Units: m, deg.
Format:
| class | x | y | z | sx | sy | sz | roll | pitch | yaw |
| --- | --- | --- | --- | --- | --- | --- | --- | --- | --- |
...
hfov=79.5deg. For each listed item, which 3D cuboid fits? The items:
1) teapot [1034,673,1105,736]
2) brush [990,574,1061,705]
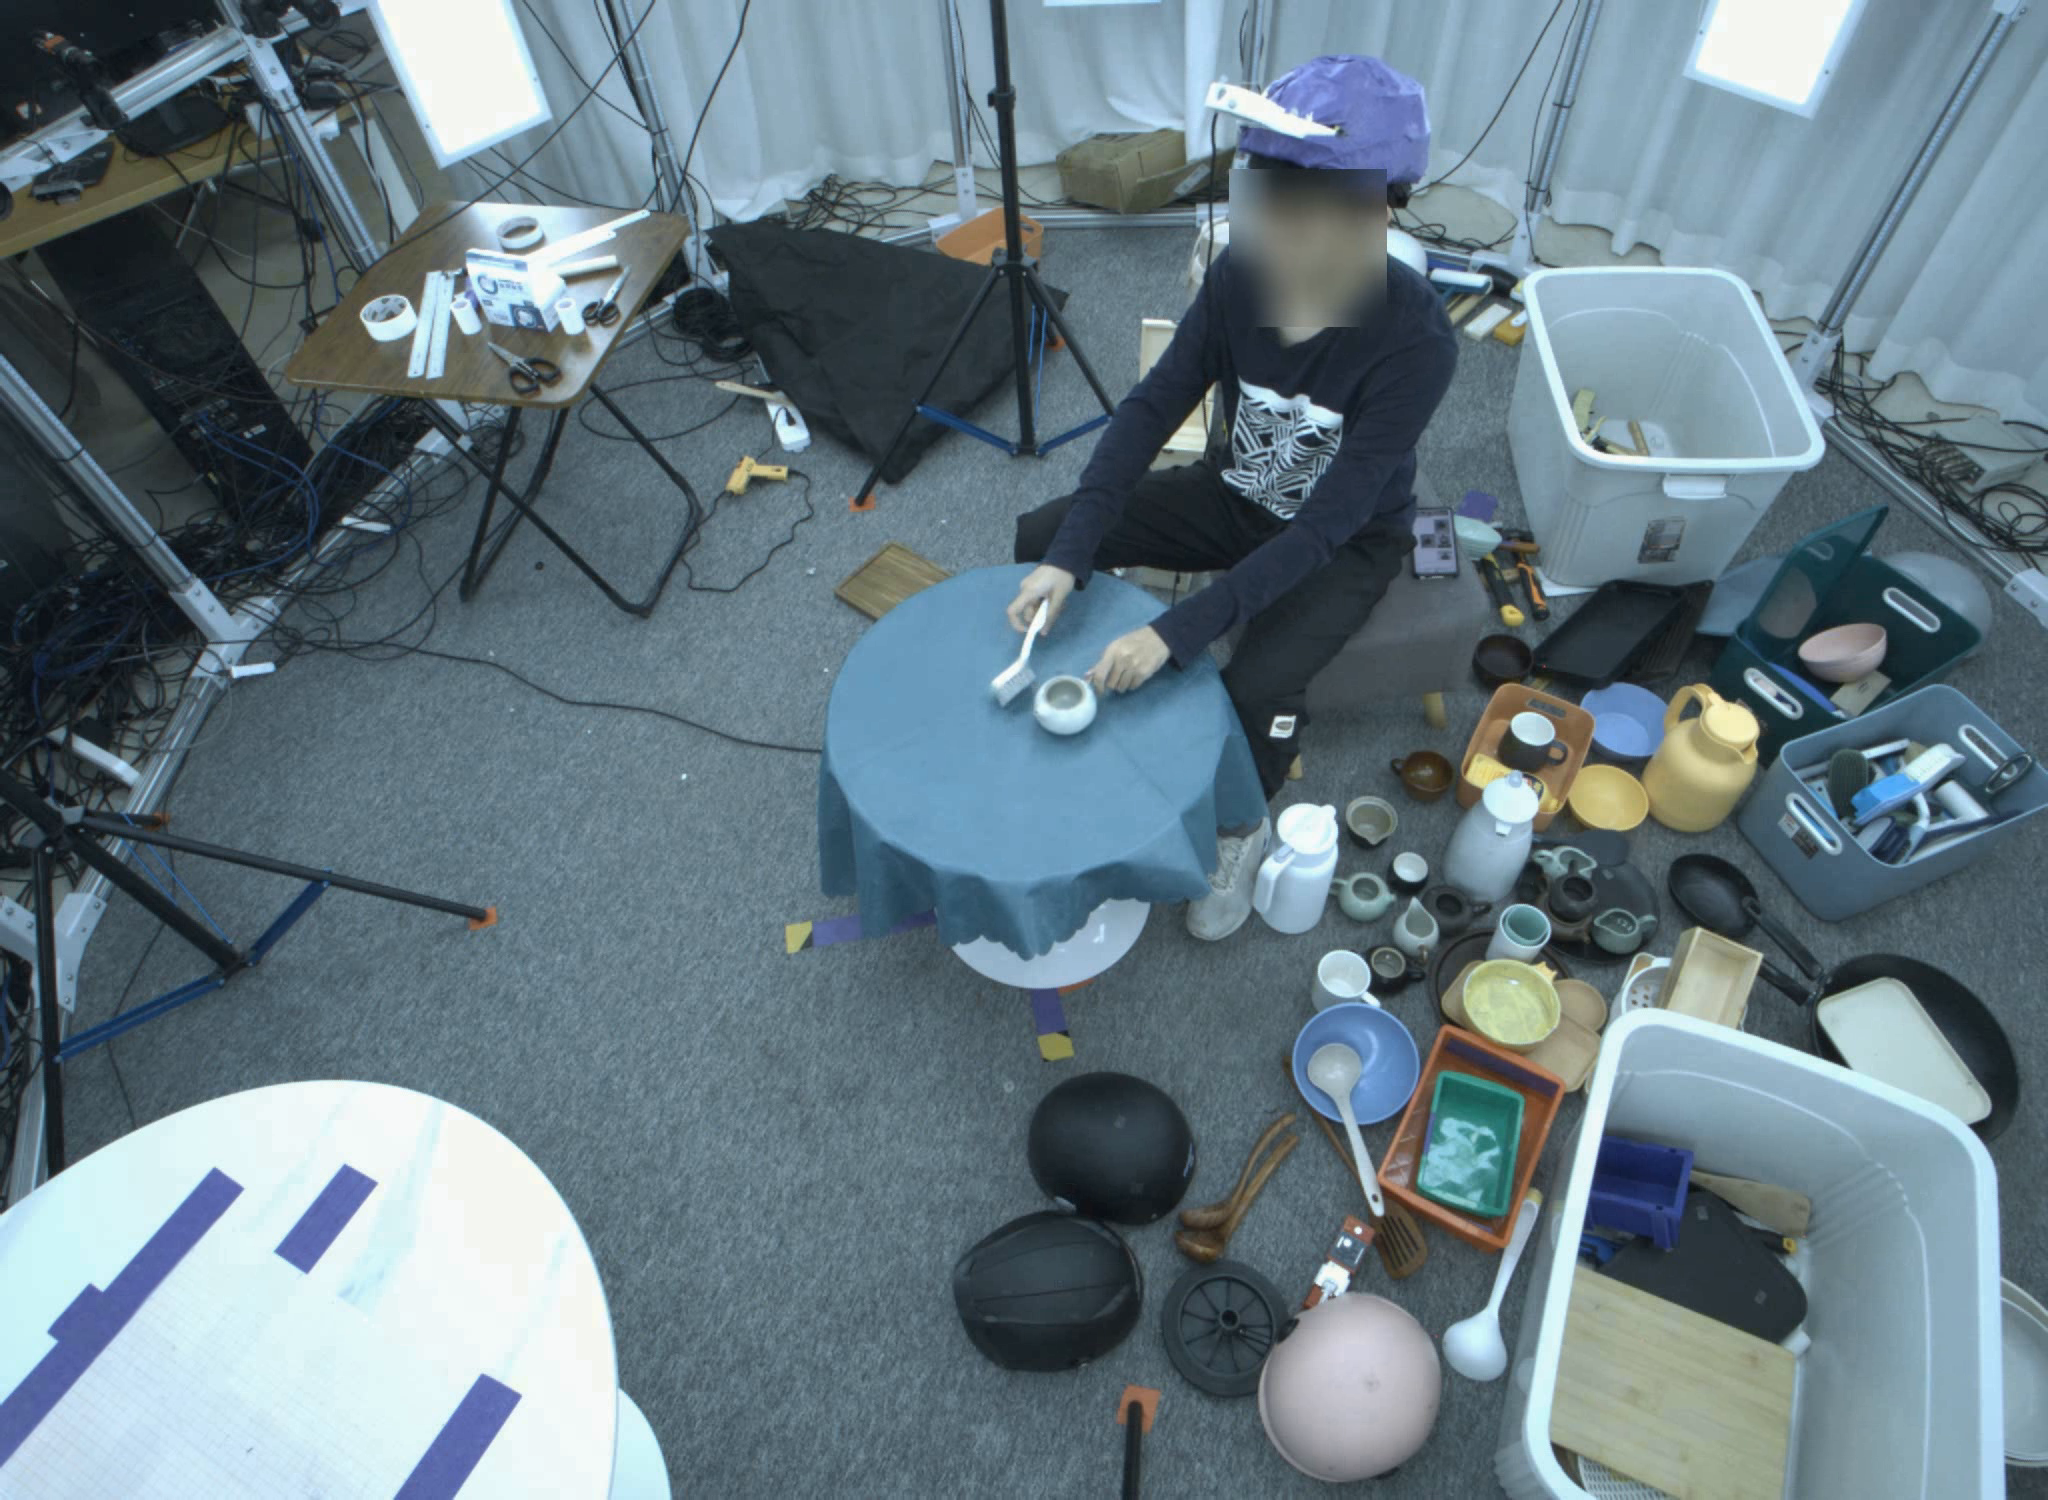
| class | x | y | z | sx | sy | sz | roll | pitch | yaw |
| --- | --- | --- | --- | --- | --- | --- | --- | --- | --- |
| teapot | 0.067 | -0.069 | 1.791 | 0.129 | 0.060 | 0.090 | -35 | 57 | -18 |
| brush | 0.018 | -0.168 | 1.859 | 0.050 | 0.034 | 0.244 | 31 | 61 | -4 |
